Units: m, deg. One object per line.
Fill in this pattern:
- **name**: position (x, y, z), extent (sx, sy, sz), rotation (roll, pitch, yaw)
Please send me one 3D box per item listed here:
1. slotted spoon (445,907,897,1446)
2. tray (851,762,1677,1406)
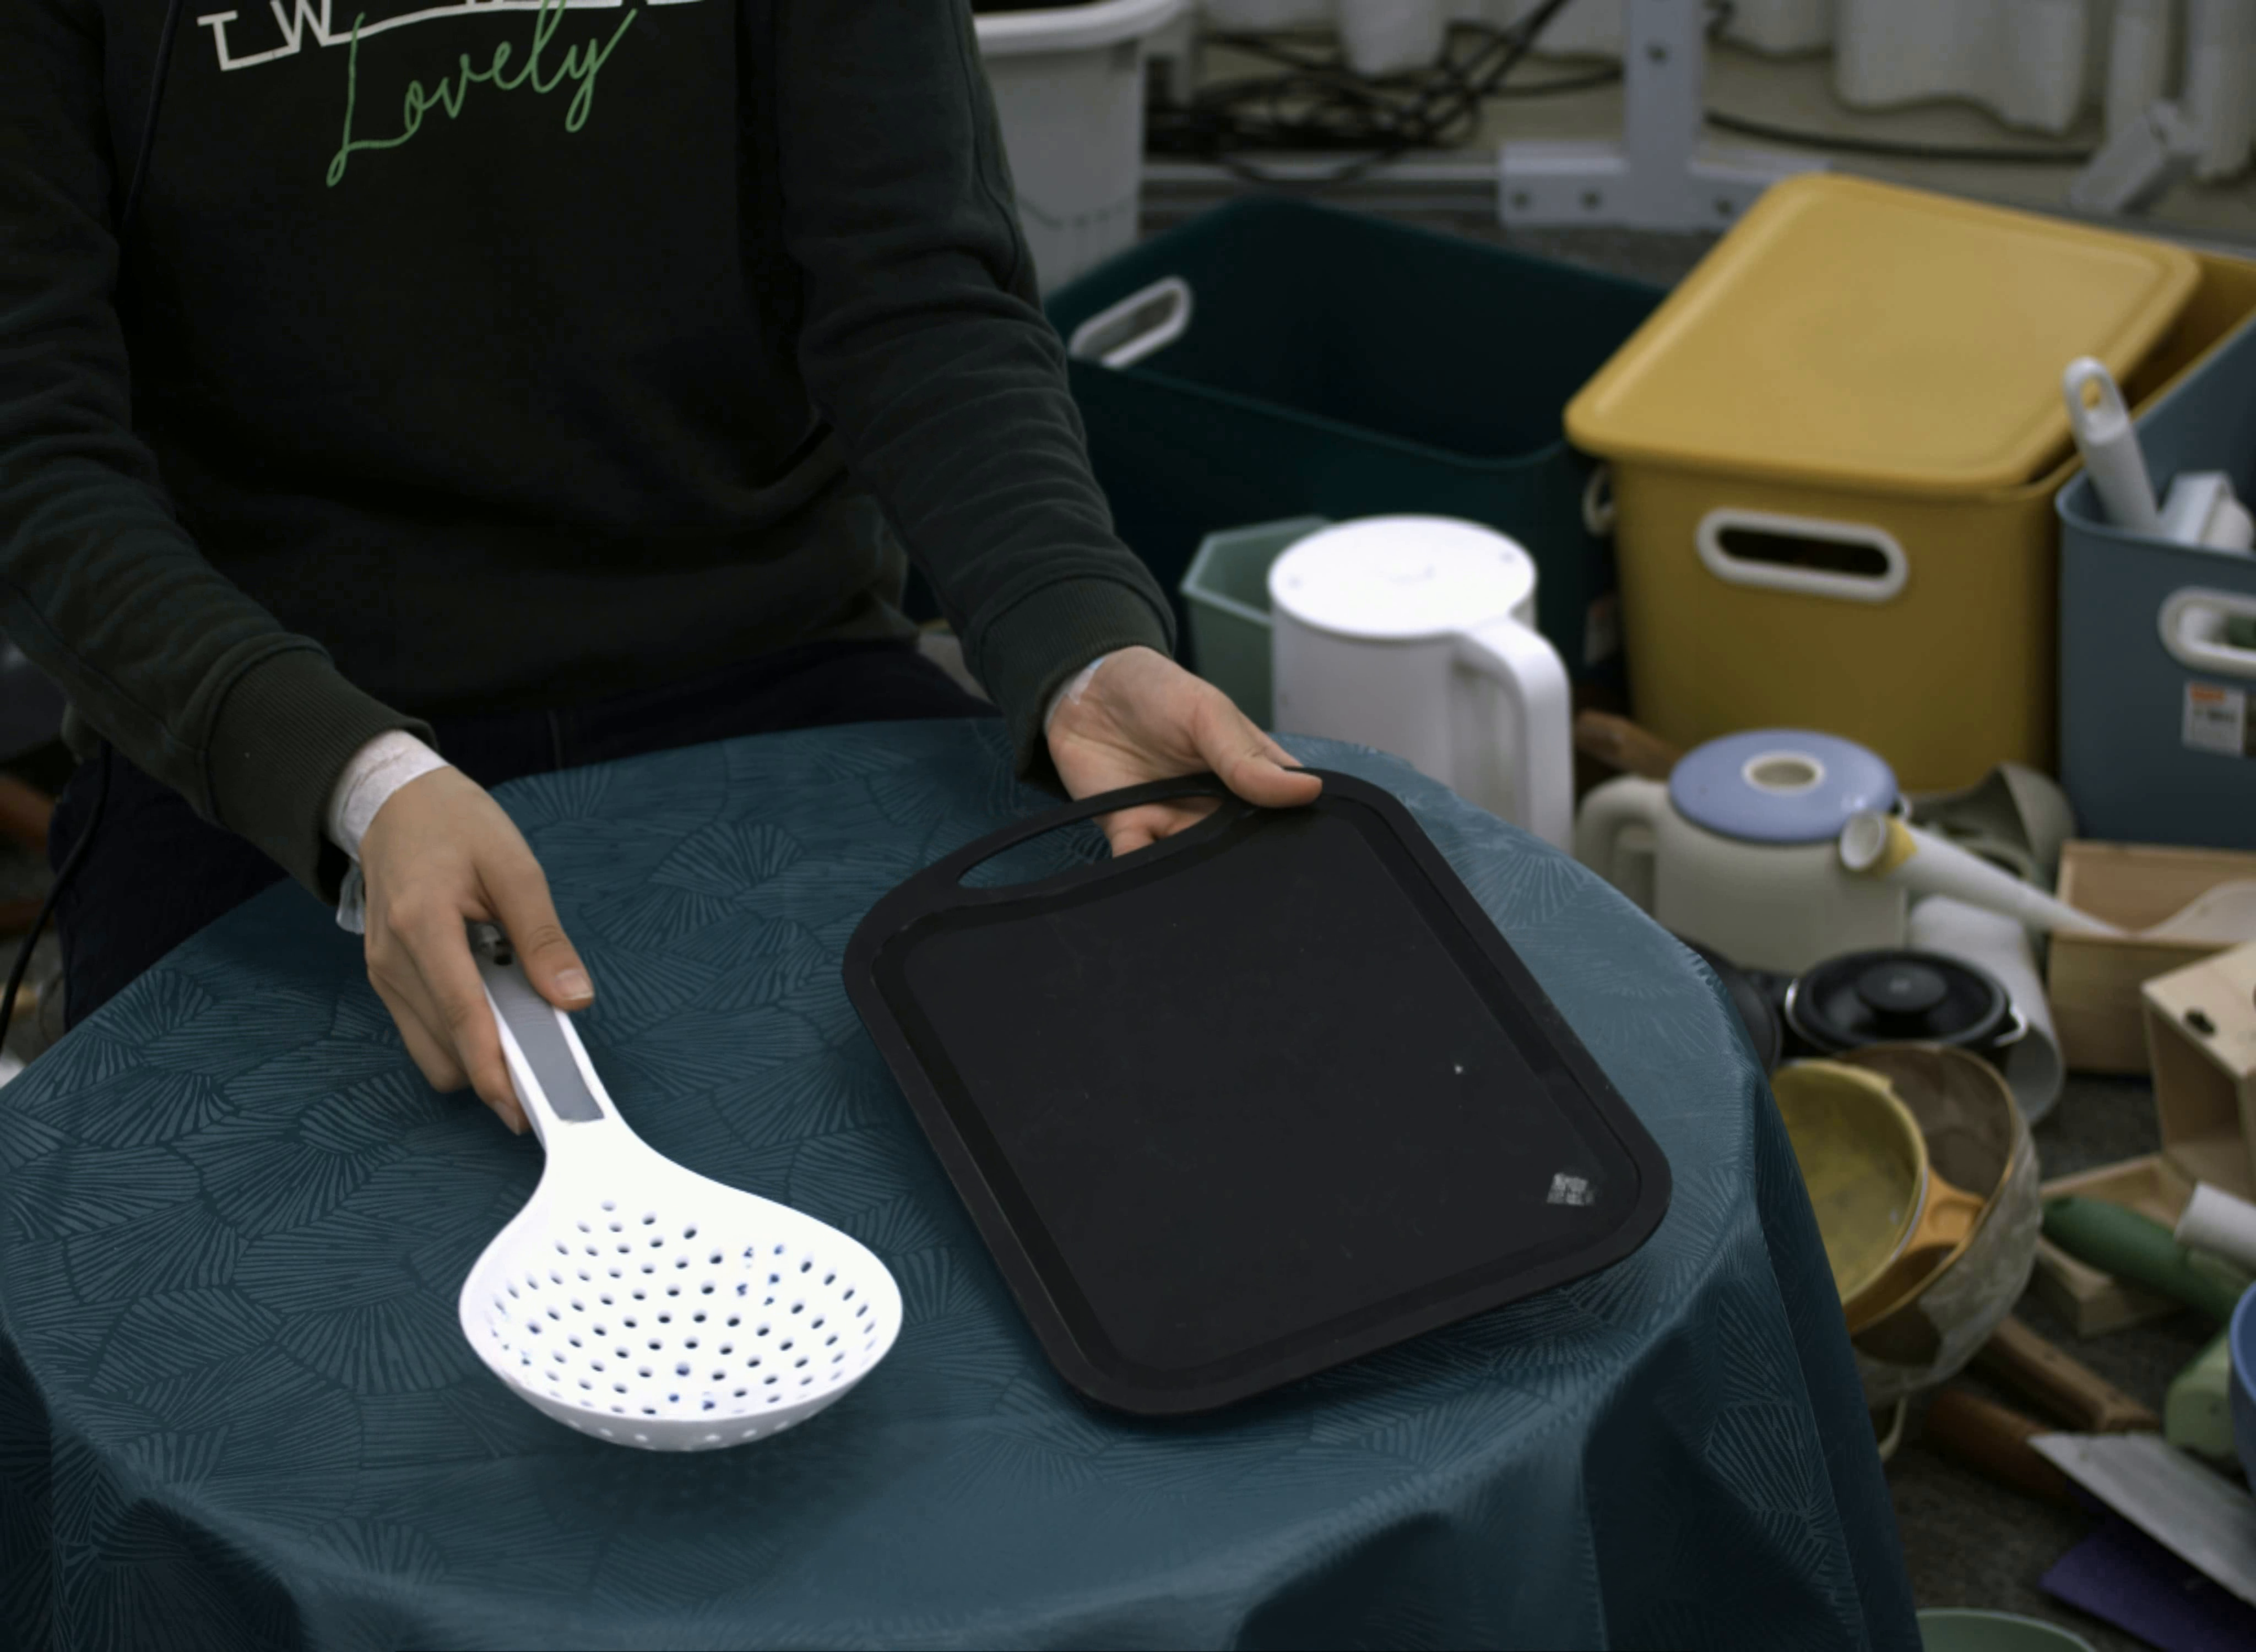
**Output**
- **slotted spoon**: position (-0.174, 0.108, 1.825), extent (0.136, 0.045, 0.353), rotation (-4, 30, -19)
- **tray**: position (0.035, 0.074, 1.868), extent (0.211, 0.009, 0.329), rotation (-18, 36, -12)
